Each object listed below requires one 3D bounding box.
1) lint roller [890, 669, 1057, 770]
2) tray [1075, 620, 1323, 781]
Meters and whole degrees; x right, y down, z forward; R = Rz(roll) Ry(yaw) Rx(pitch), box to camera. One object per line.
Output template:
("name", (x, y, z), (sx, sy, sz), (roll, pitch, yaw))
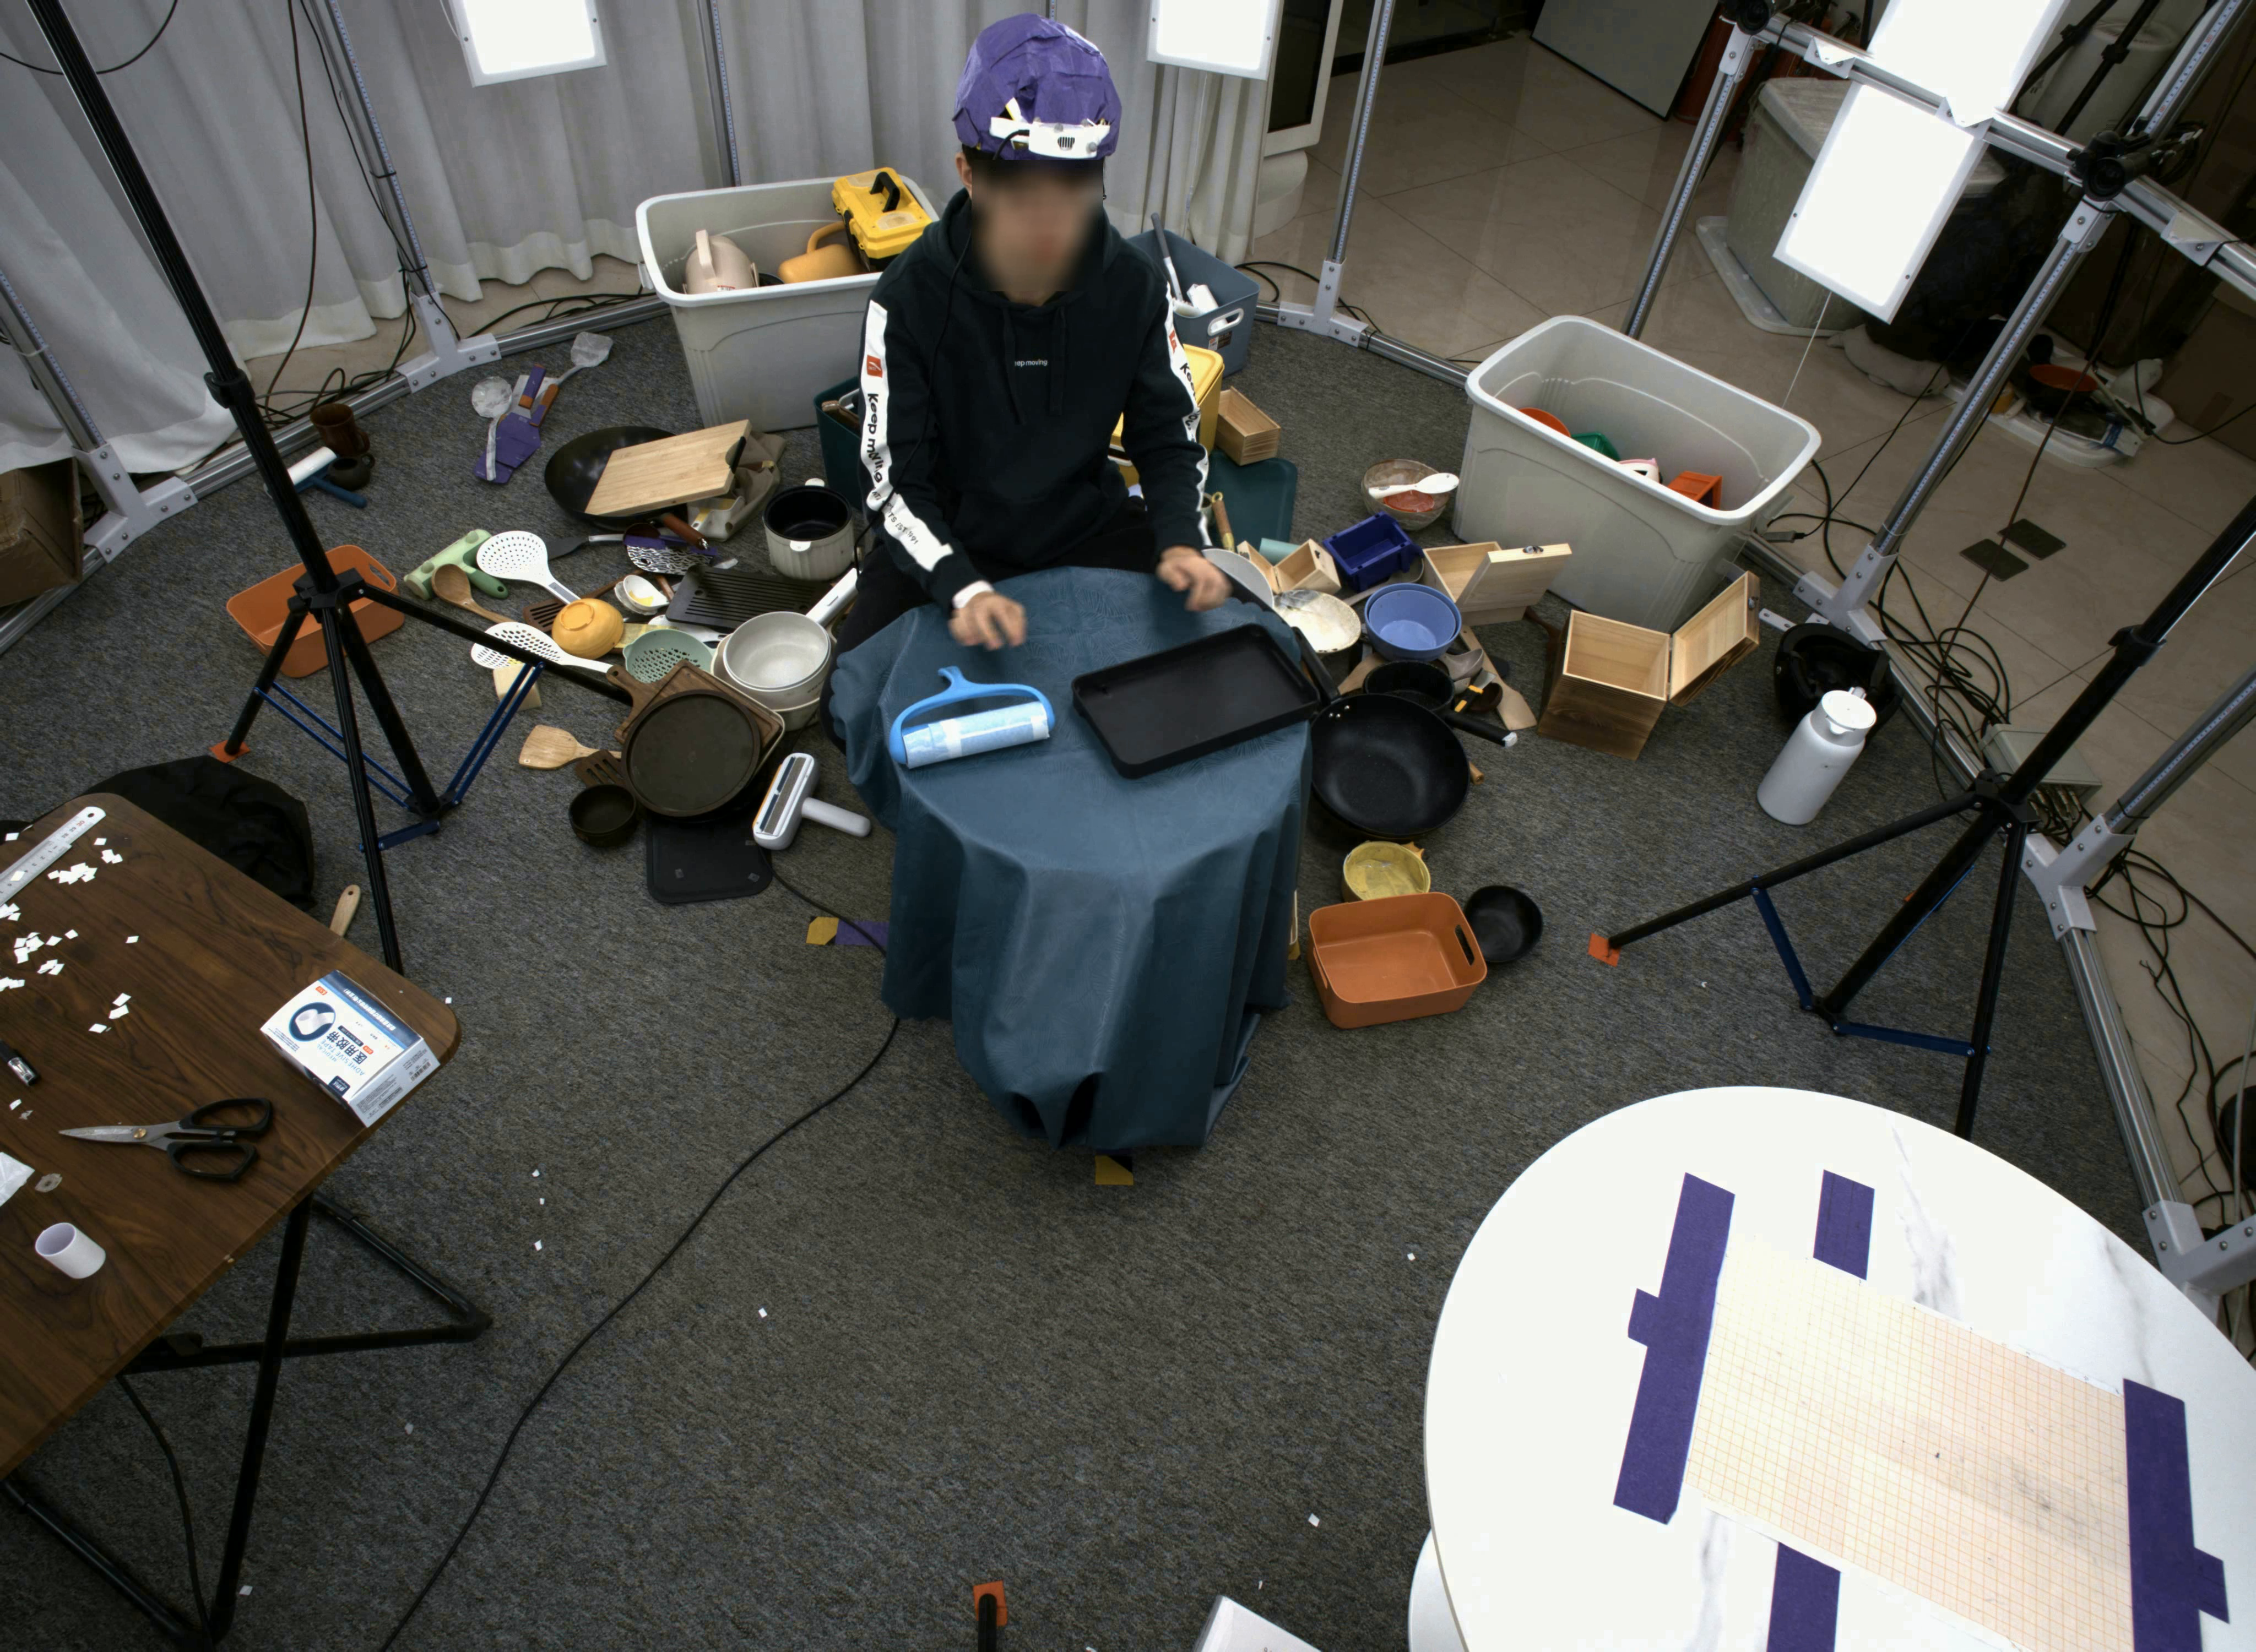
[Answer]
("lint roller", (-0.228, -0.167, 1.762), (0.229, 0.066, 0.184), (-17, 53, -15))
("tray", (0.100, -0.182, 1.810), (0.319, 0.036, 0.188), (-21, 53, -19))
